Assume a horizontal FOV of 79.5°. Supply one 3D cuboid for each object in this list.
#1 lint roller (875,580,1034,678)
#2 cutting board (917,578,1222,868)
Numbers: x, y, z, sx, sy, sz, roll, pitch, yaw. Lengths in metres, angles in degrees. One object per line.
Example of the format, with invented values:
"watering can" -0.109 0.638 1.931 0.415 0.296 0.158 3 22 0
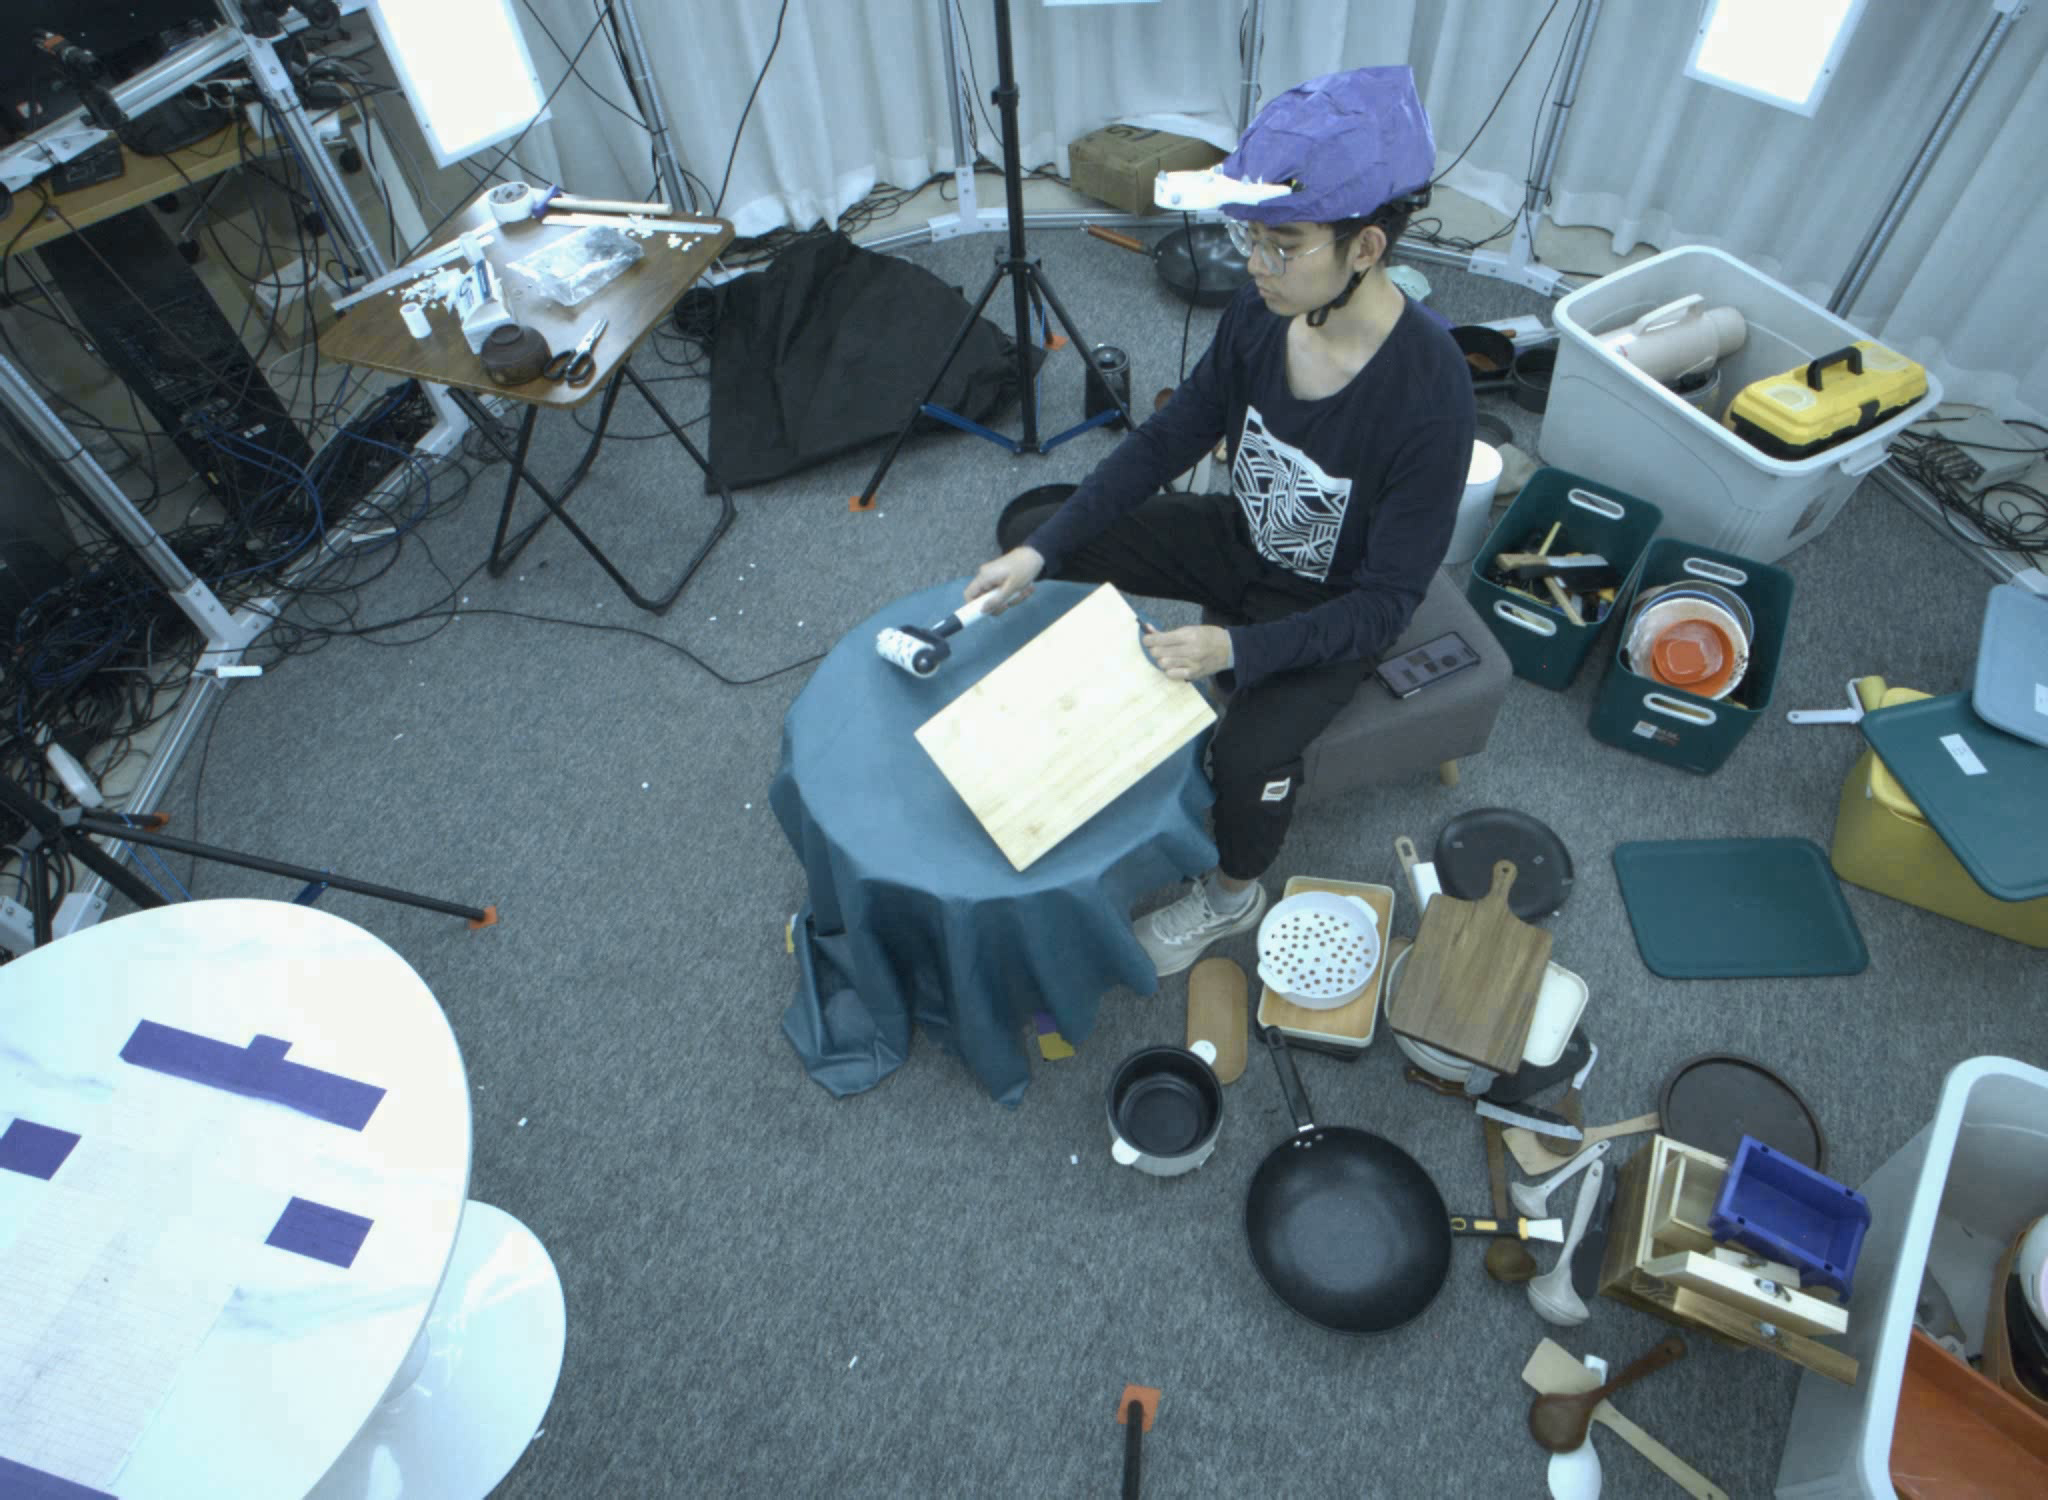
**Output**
"lint roller" -0.094 -0.200 1.859 0.249 0.051 0.172 -32 30 -16
"cutting board" 0.059 -0.038 1.684 0.349 0.023 0.250 -39 86 -1
